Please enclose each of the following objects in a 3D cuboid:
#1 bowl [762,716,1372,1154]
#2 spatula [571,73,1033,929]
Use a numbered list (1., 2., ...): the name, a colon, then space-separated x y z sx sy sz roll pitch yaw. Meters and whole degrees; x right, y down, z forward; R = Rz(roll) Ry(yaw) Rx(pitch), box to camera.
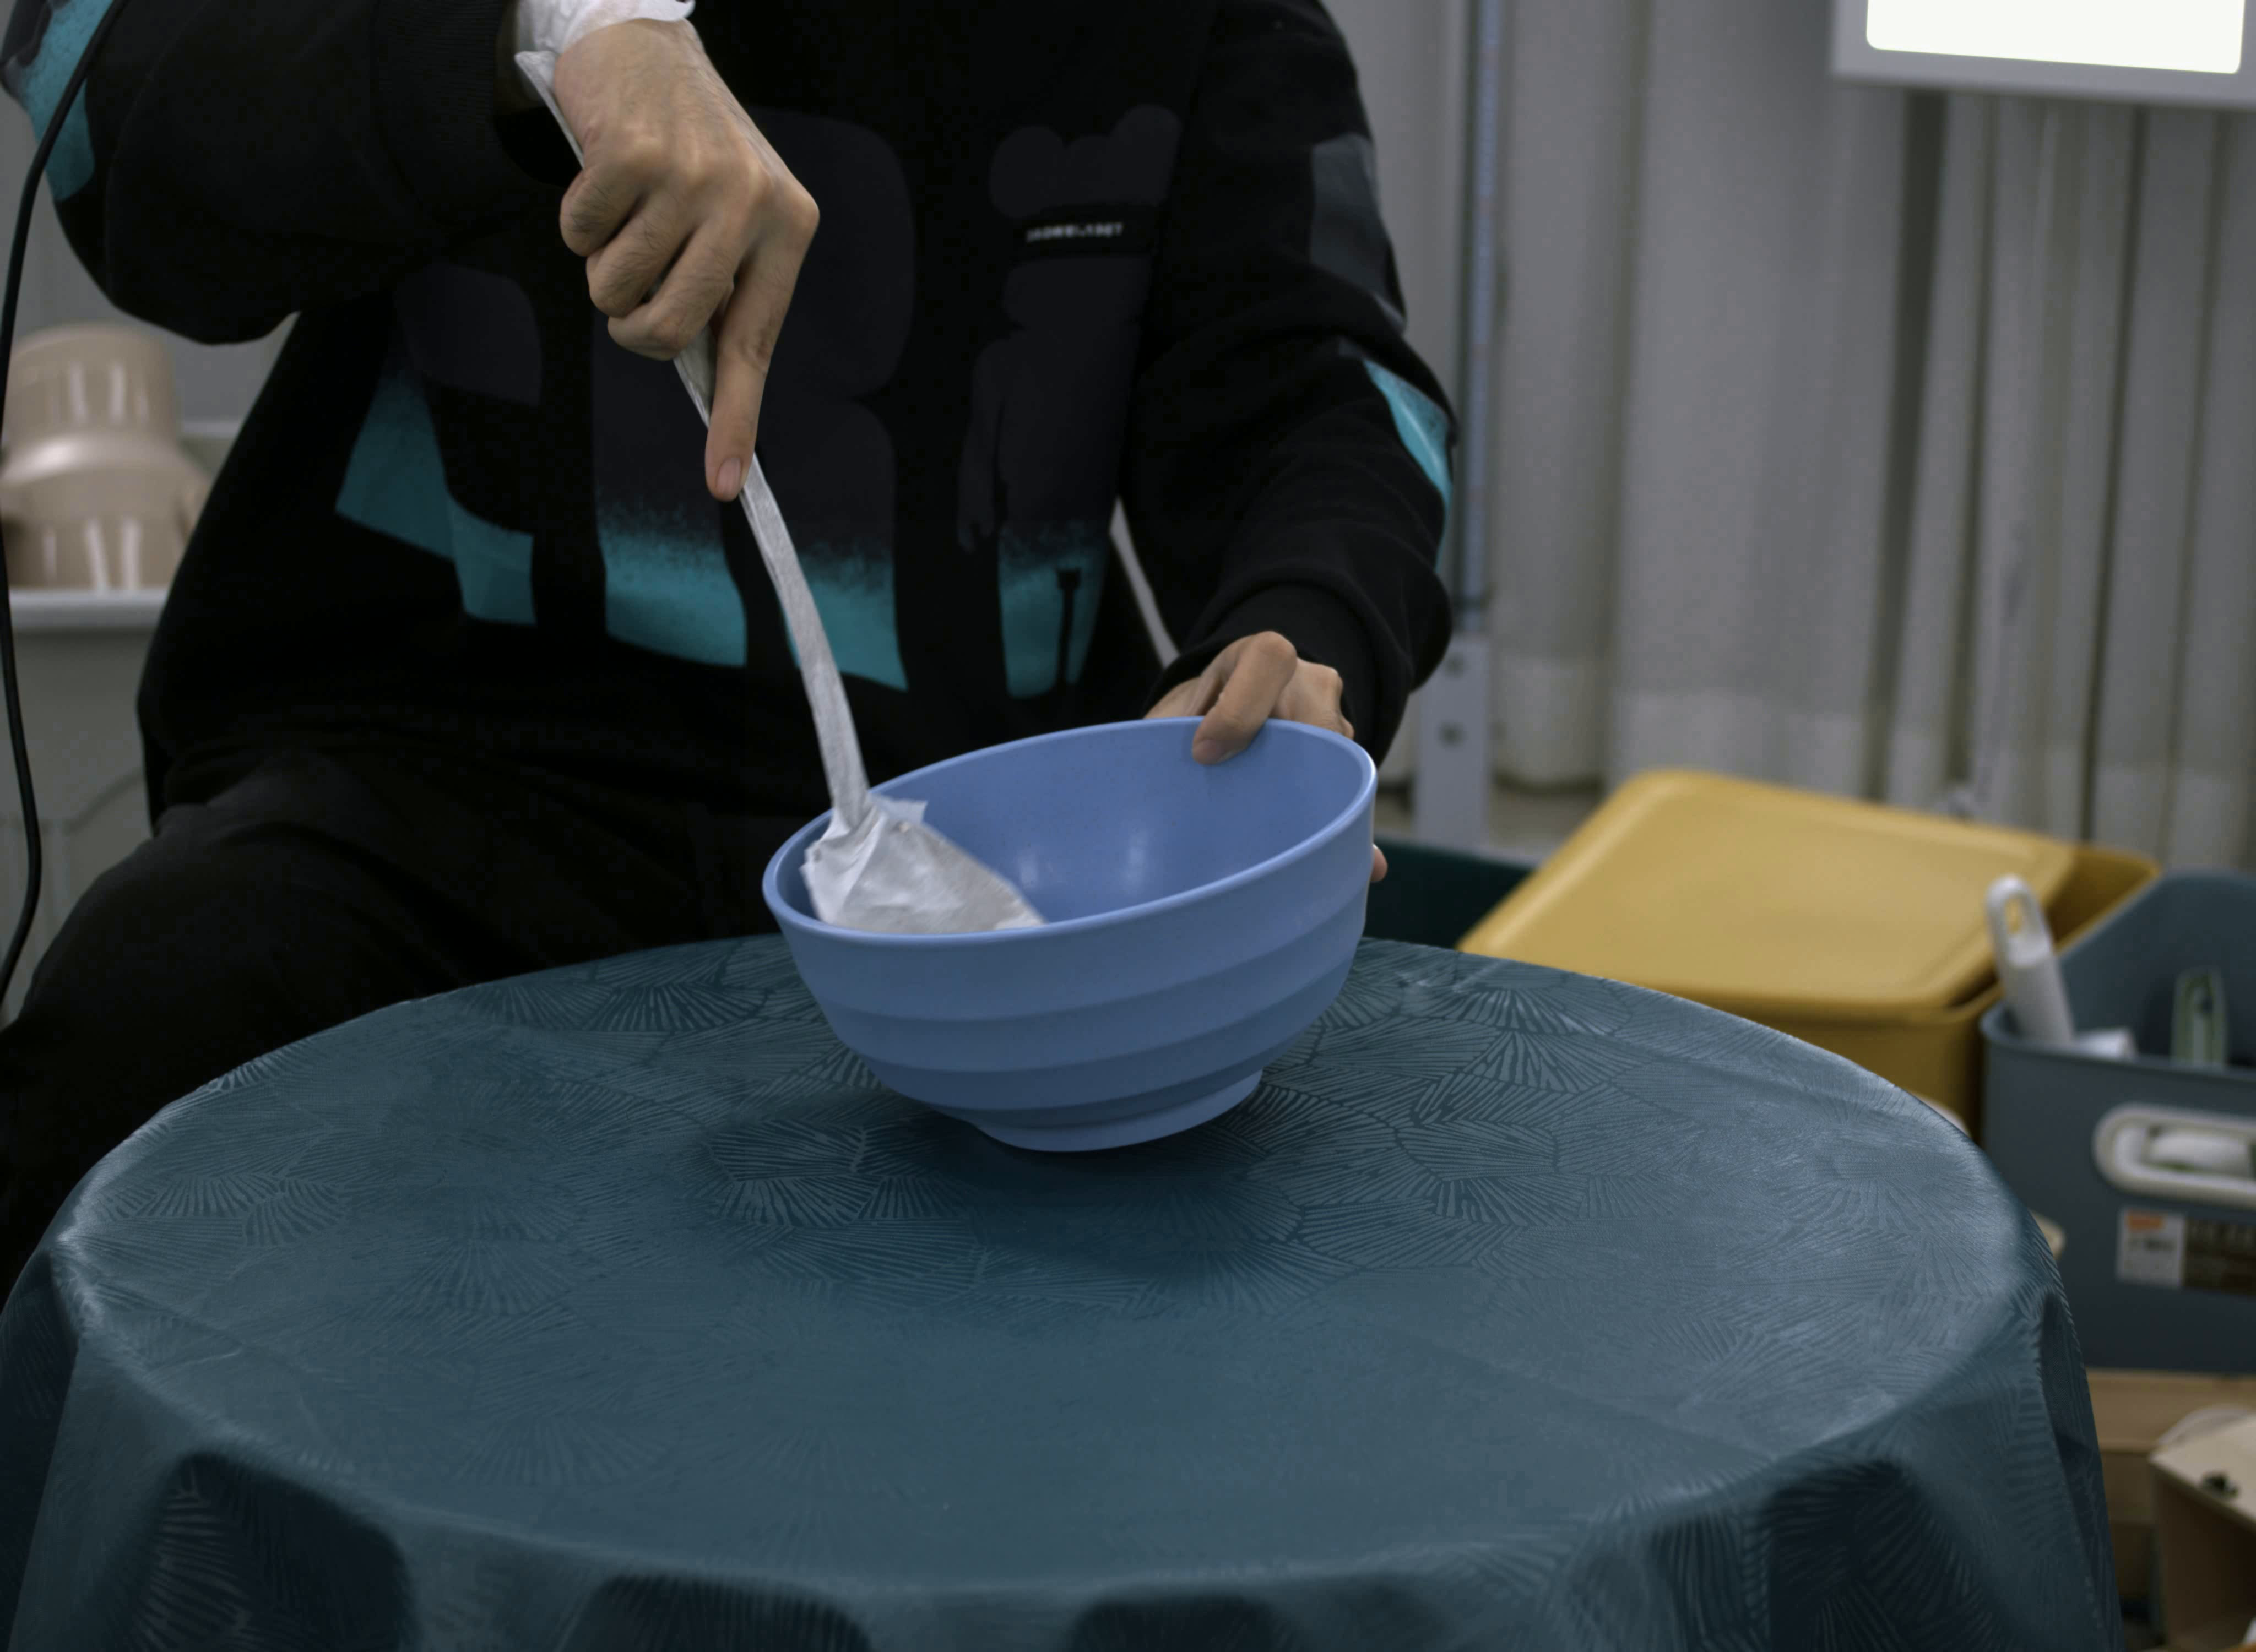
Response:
1. bowl: -0.010 0.042 1.669 0.195 0.096 0.195 -11 18 4
2. spatula: -0.106 -0.085 1.688 0.044 0.364 0.099 -26 -8 39
